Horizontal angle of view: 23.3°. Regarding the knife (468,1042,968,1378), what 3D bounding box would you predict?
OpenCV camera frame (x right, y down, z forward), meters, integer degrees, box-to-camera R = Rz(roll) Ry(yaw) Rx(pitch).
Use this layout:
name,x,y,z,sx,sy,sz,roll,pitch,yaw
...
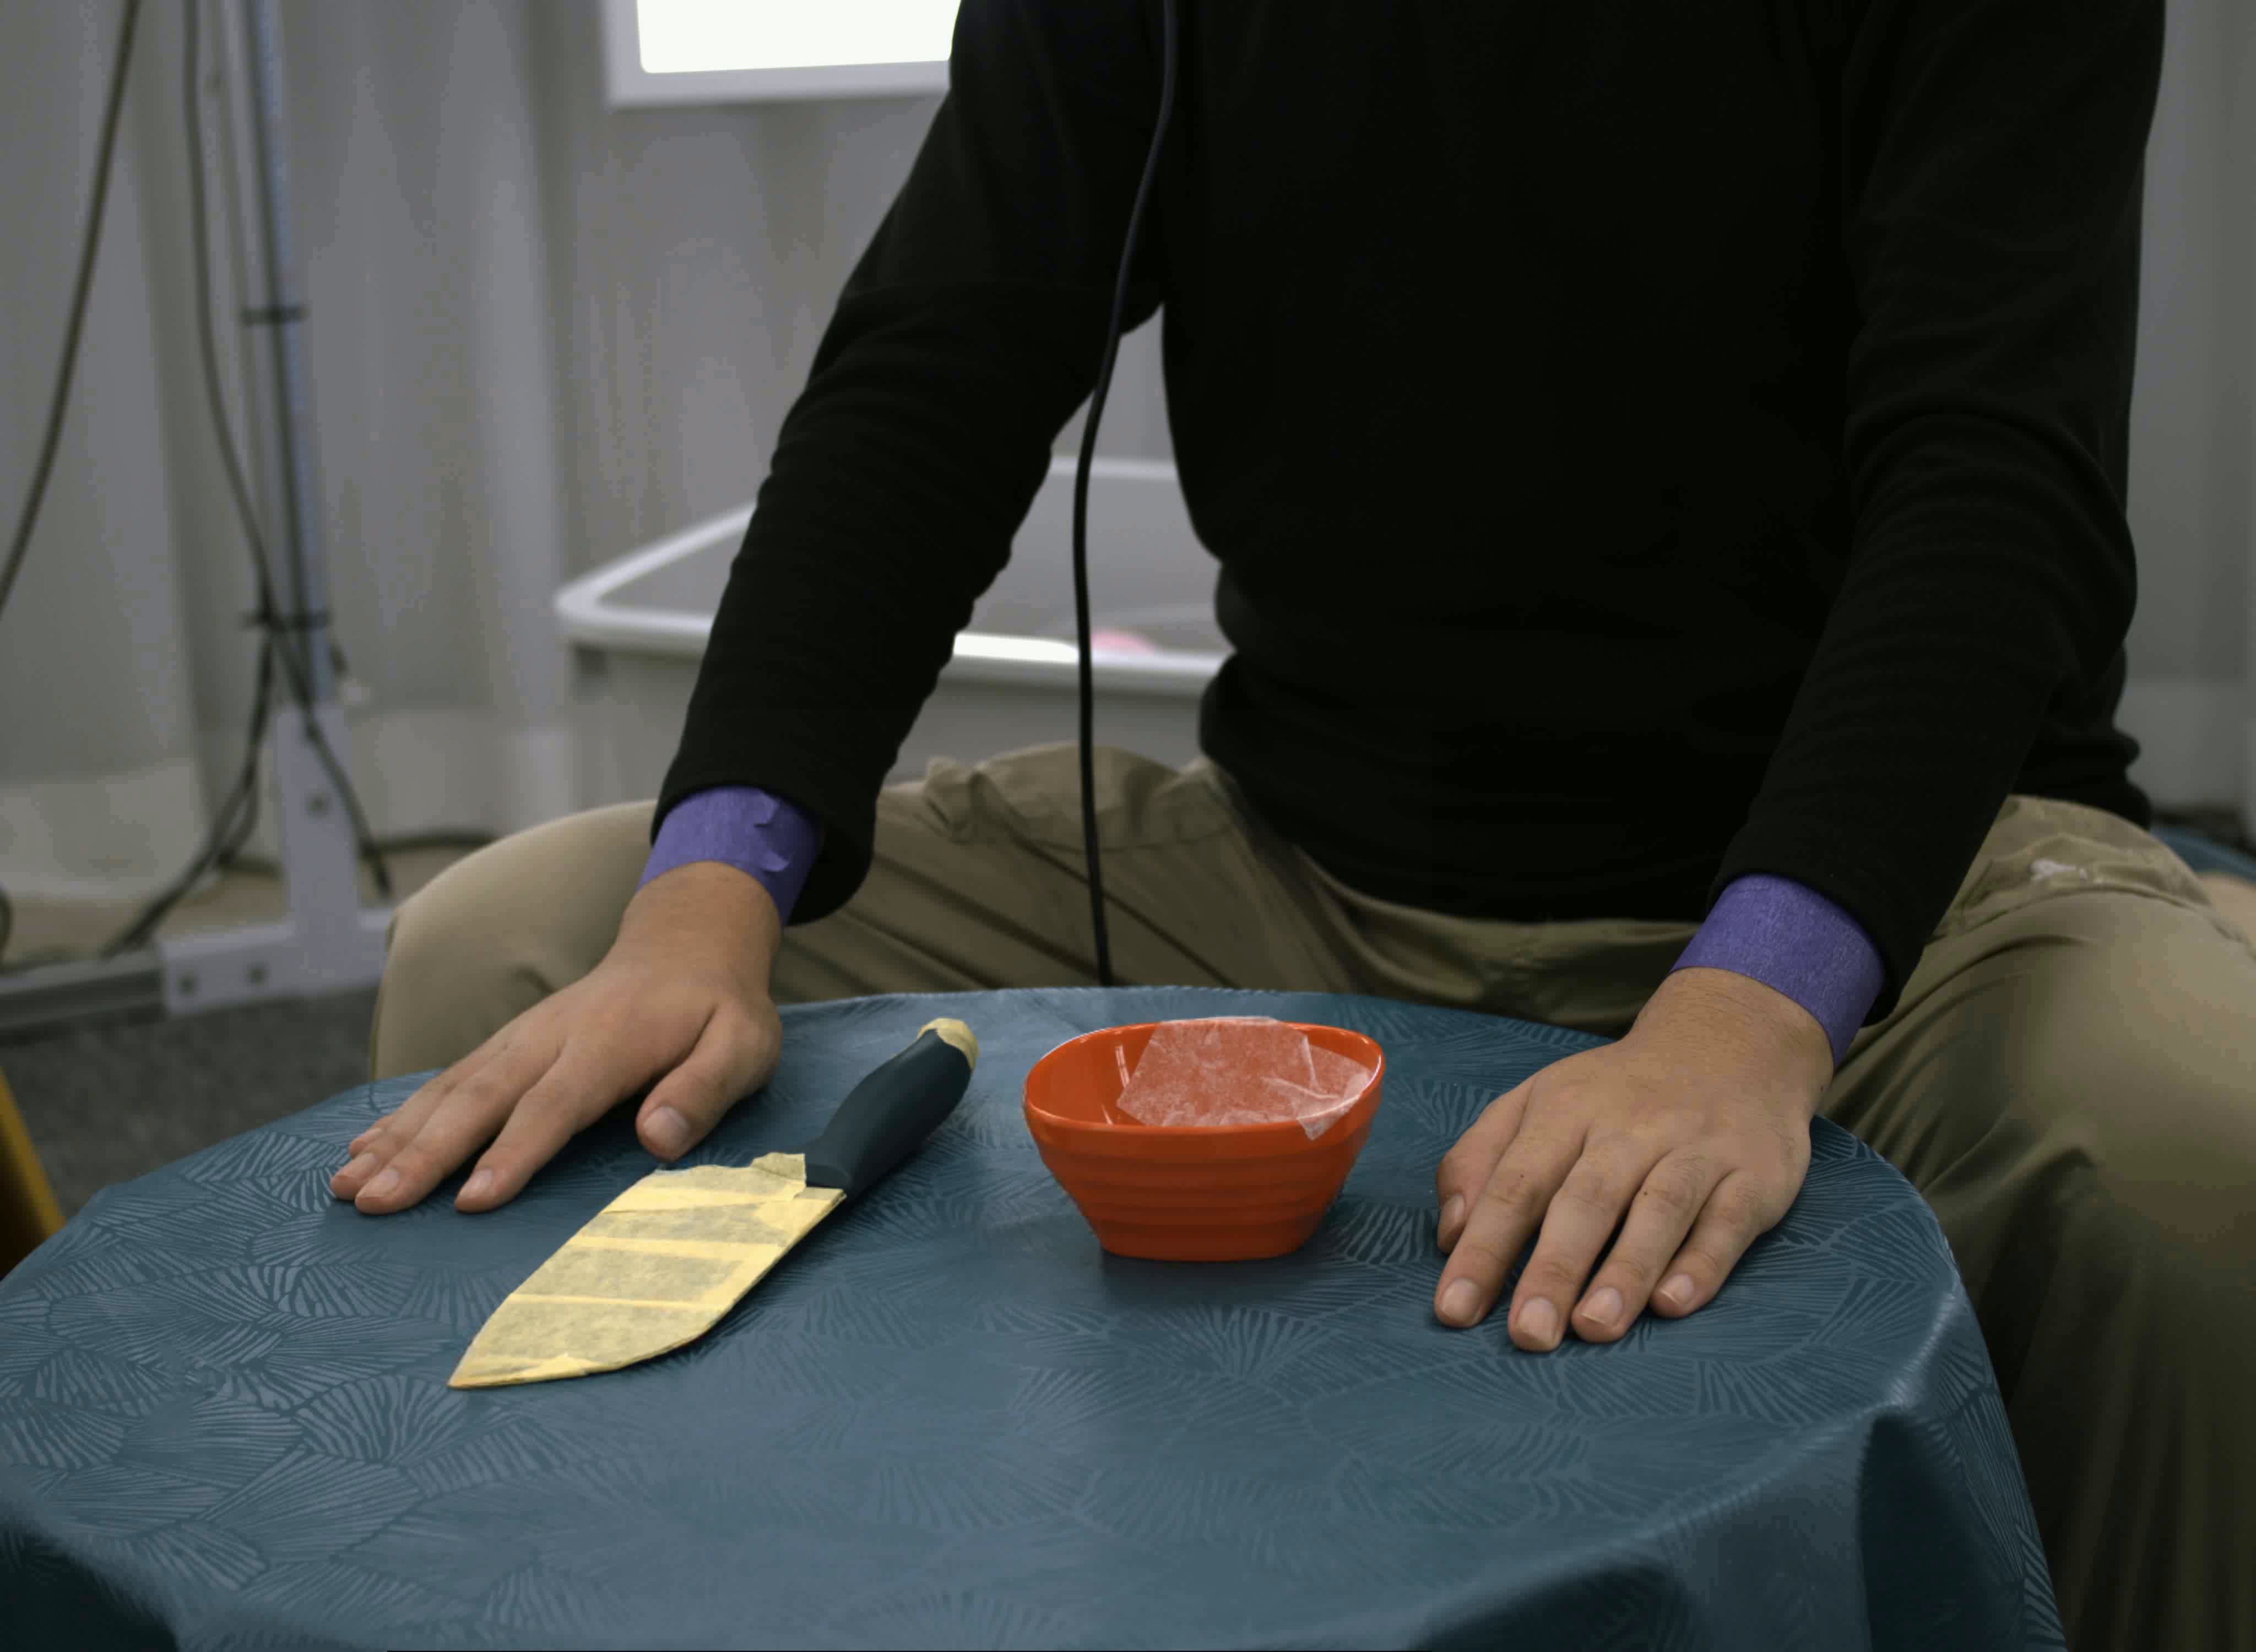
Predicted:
name,x,y,z,sx,sy,sz,roll,pitch,yaw
knife,-0.122,0.119,1.696,0.081,0.027,0.290,5,18,22

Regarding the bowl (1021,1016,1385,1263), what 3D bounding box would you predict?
name,x,y,z,sx,sy,sz,roll,pitch,yaw
bowl,0.025,0.098,1.671,0.118,0.051,0.120,-4,15,1
